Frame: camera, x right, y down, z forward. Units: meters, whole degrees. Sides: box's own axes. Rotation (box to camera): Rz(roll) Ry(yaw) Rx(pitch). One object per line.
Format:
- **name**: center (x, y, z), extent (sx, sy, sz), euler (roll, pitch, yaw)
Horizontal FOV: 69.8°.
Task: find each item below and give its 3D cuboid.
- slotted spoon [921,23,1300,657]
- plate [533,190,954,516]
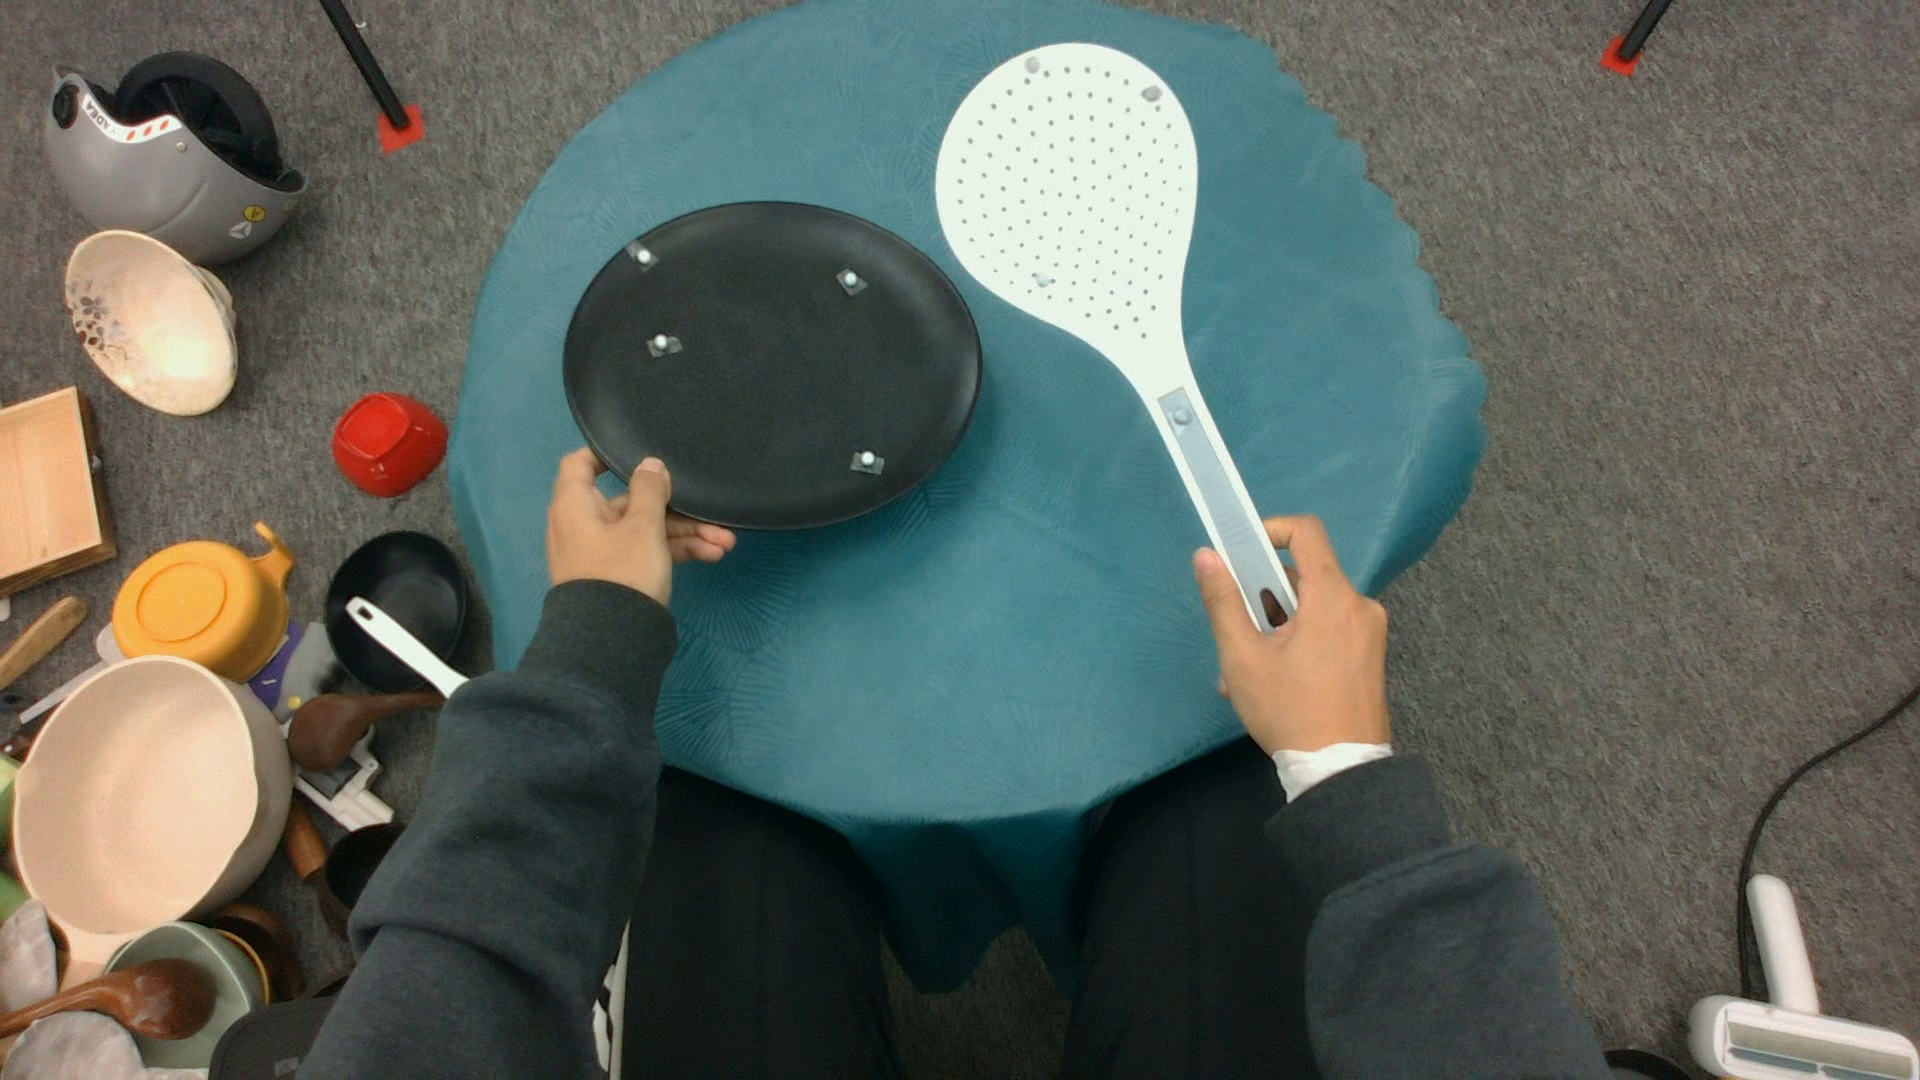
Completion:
- **slotted spoon**: center (0.091, -0.104, 0.712), extent (0.136, 0.046, 0.350), euler (-25, 79, 12)
- **plate**: center (-0.125, -0.113, 0.814), extent (0.244, 0.023, 0.245), euler (4, 58, -6)
